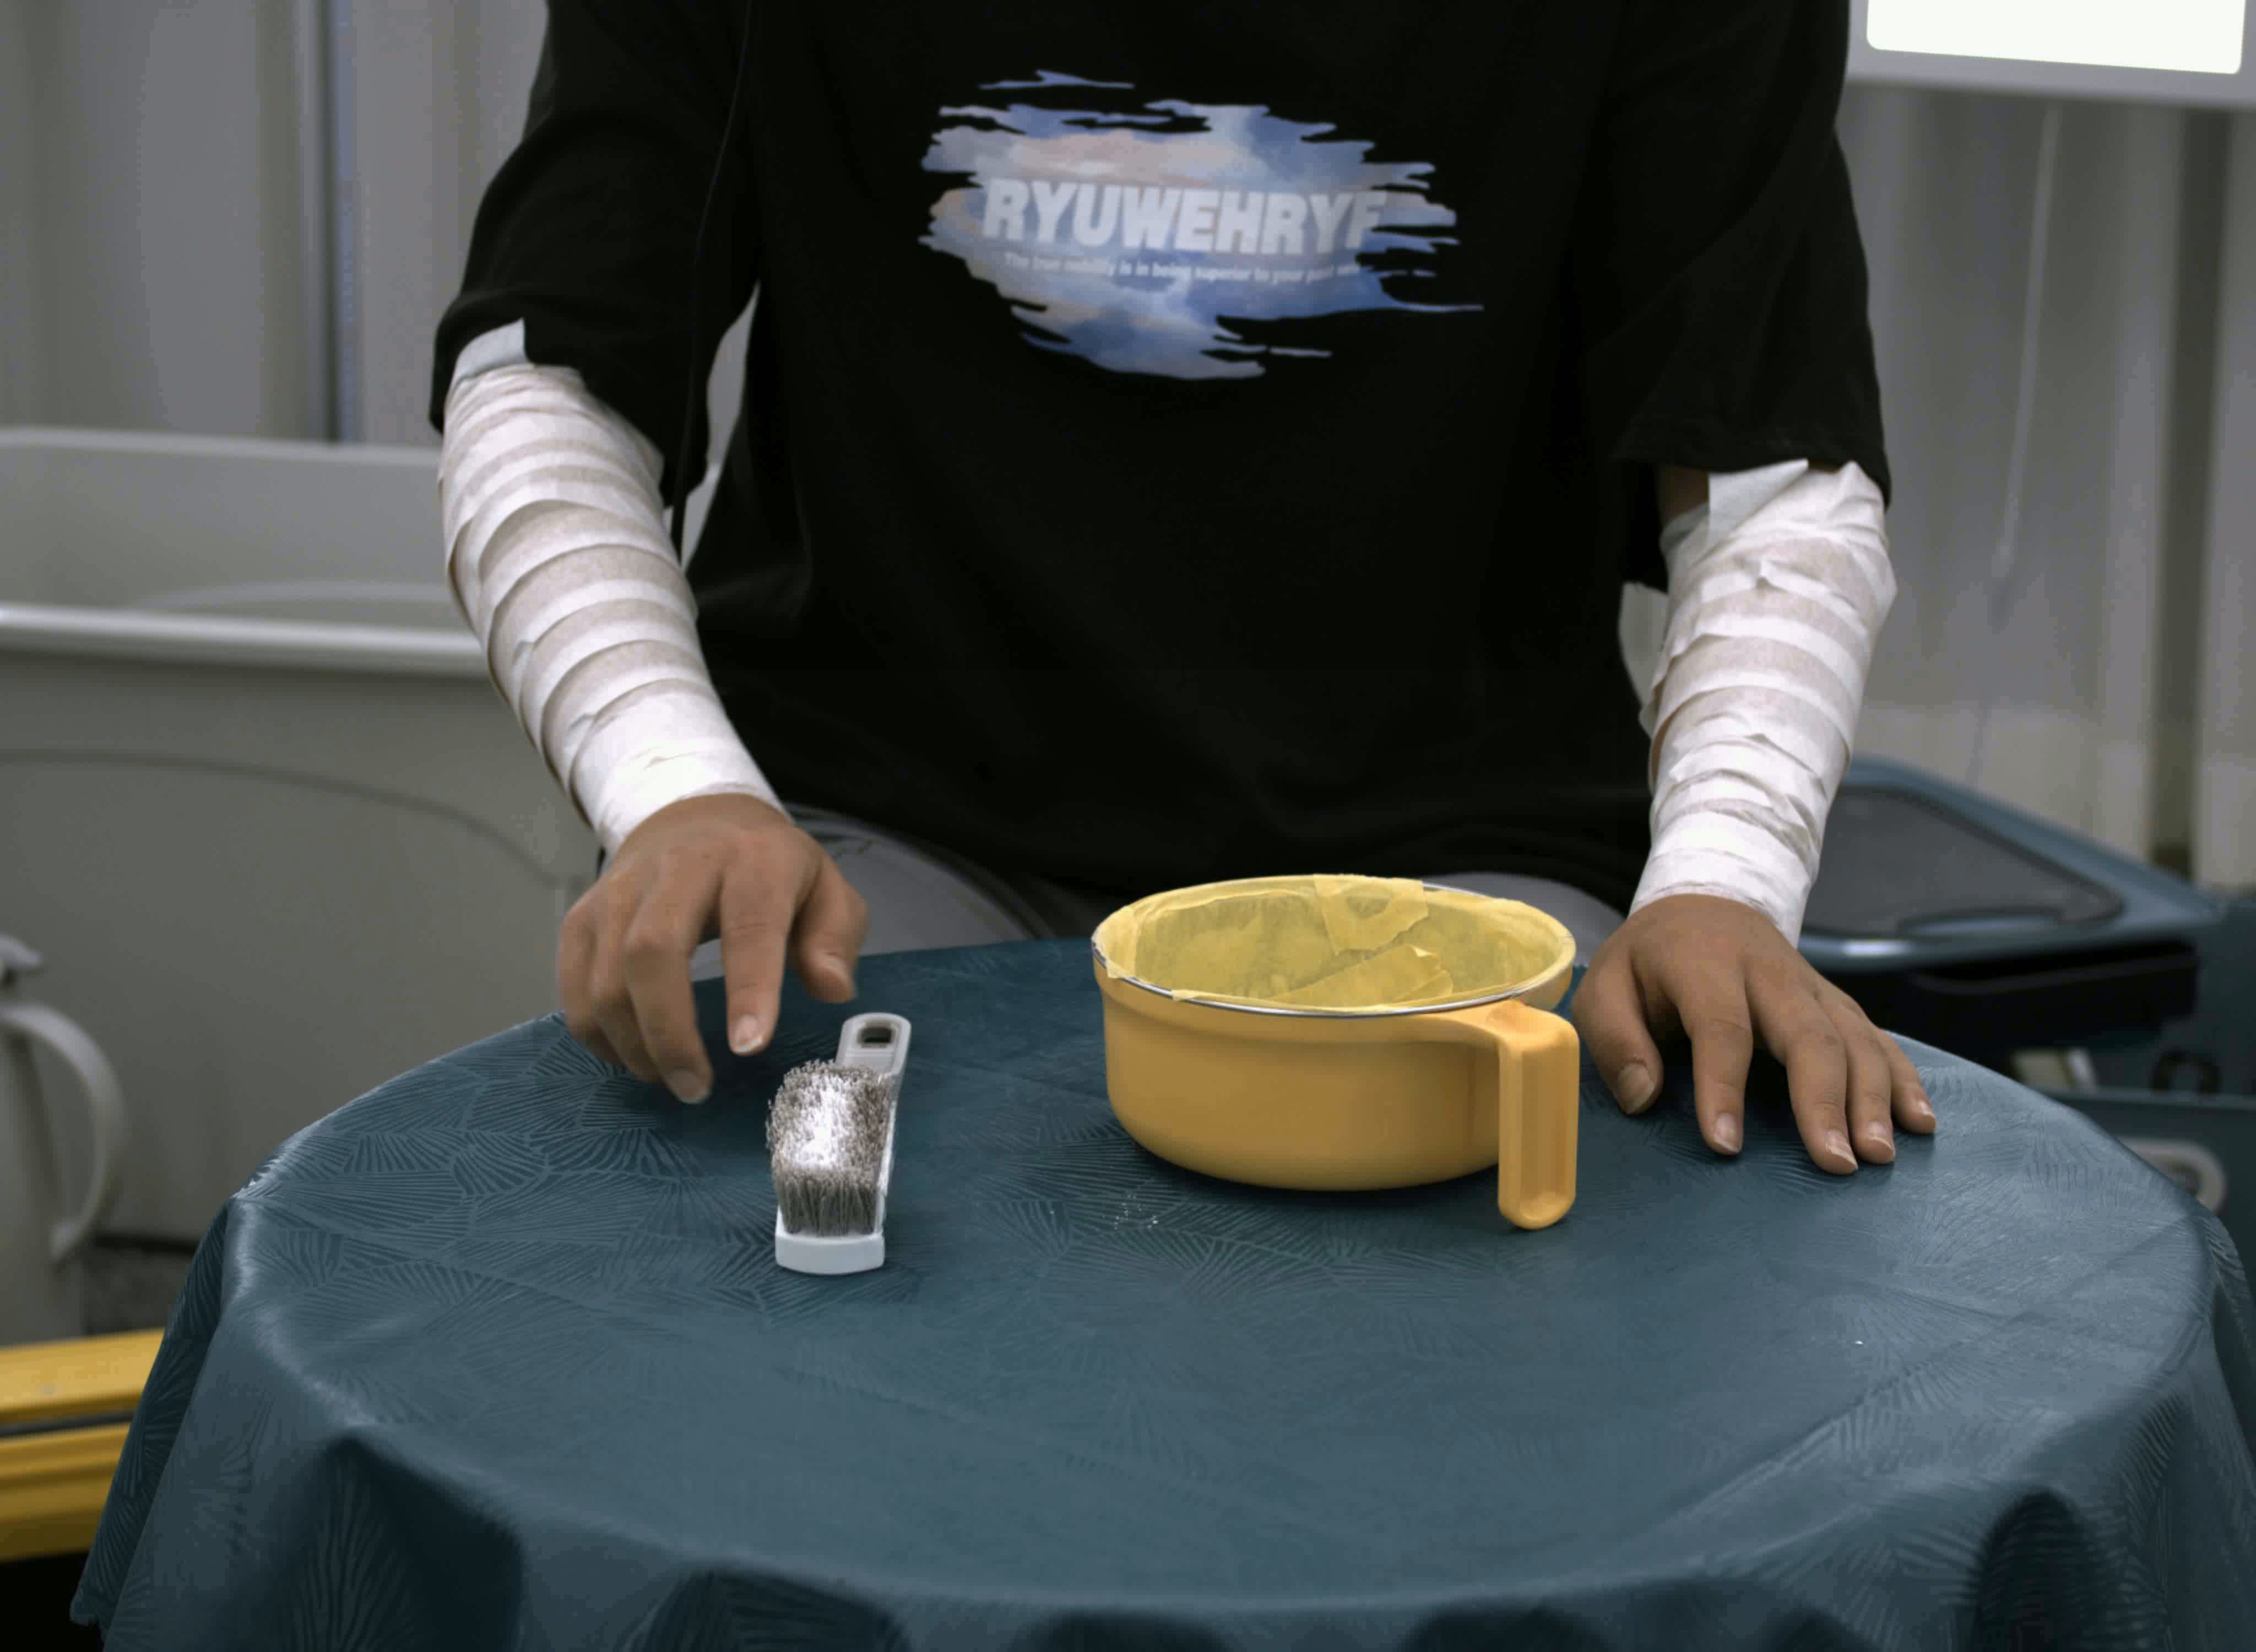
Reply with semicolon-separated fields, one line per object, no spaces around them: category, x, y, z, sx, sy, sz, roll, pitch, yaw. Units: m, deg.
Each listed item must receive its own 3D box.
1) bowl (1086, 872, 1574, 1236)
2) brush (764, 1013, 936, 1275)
bowl;0.070;0.071;1.652;0.154;0.075;0.177;-11;18;-39
brush;-0.084;0.079;1.647;0.034;0.050;0.242;0;15;4
